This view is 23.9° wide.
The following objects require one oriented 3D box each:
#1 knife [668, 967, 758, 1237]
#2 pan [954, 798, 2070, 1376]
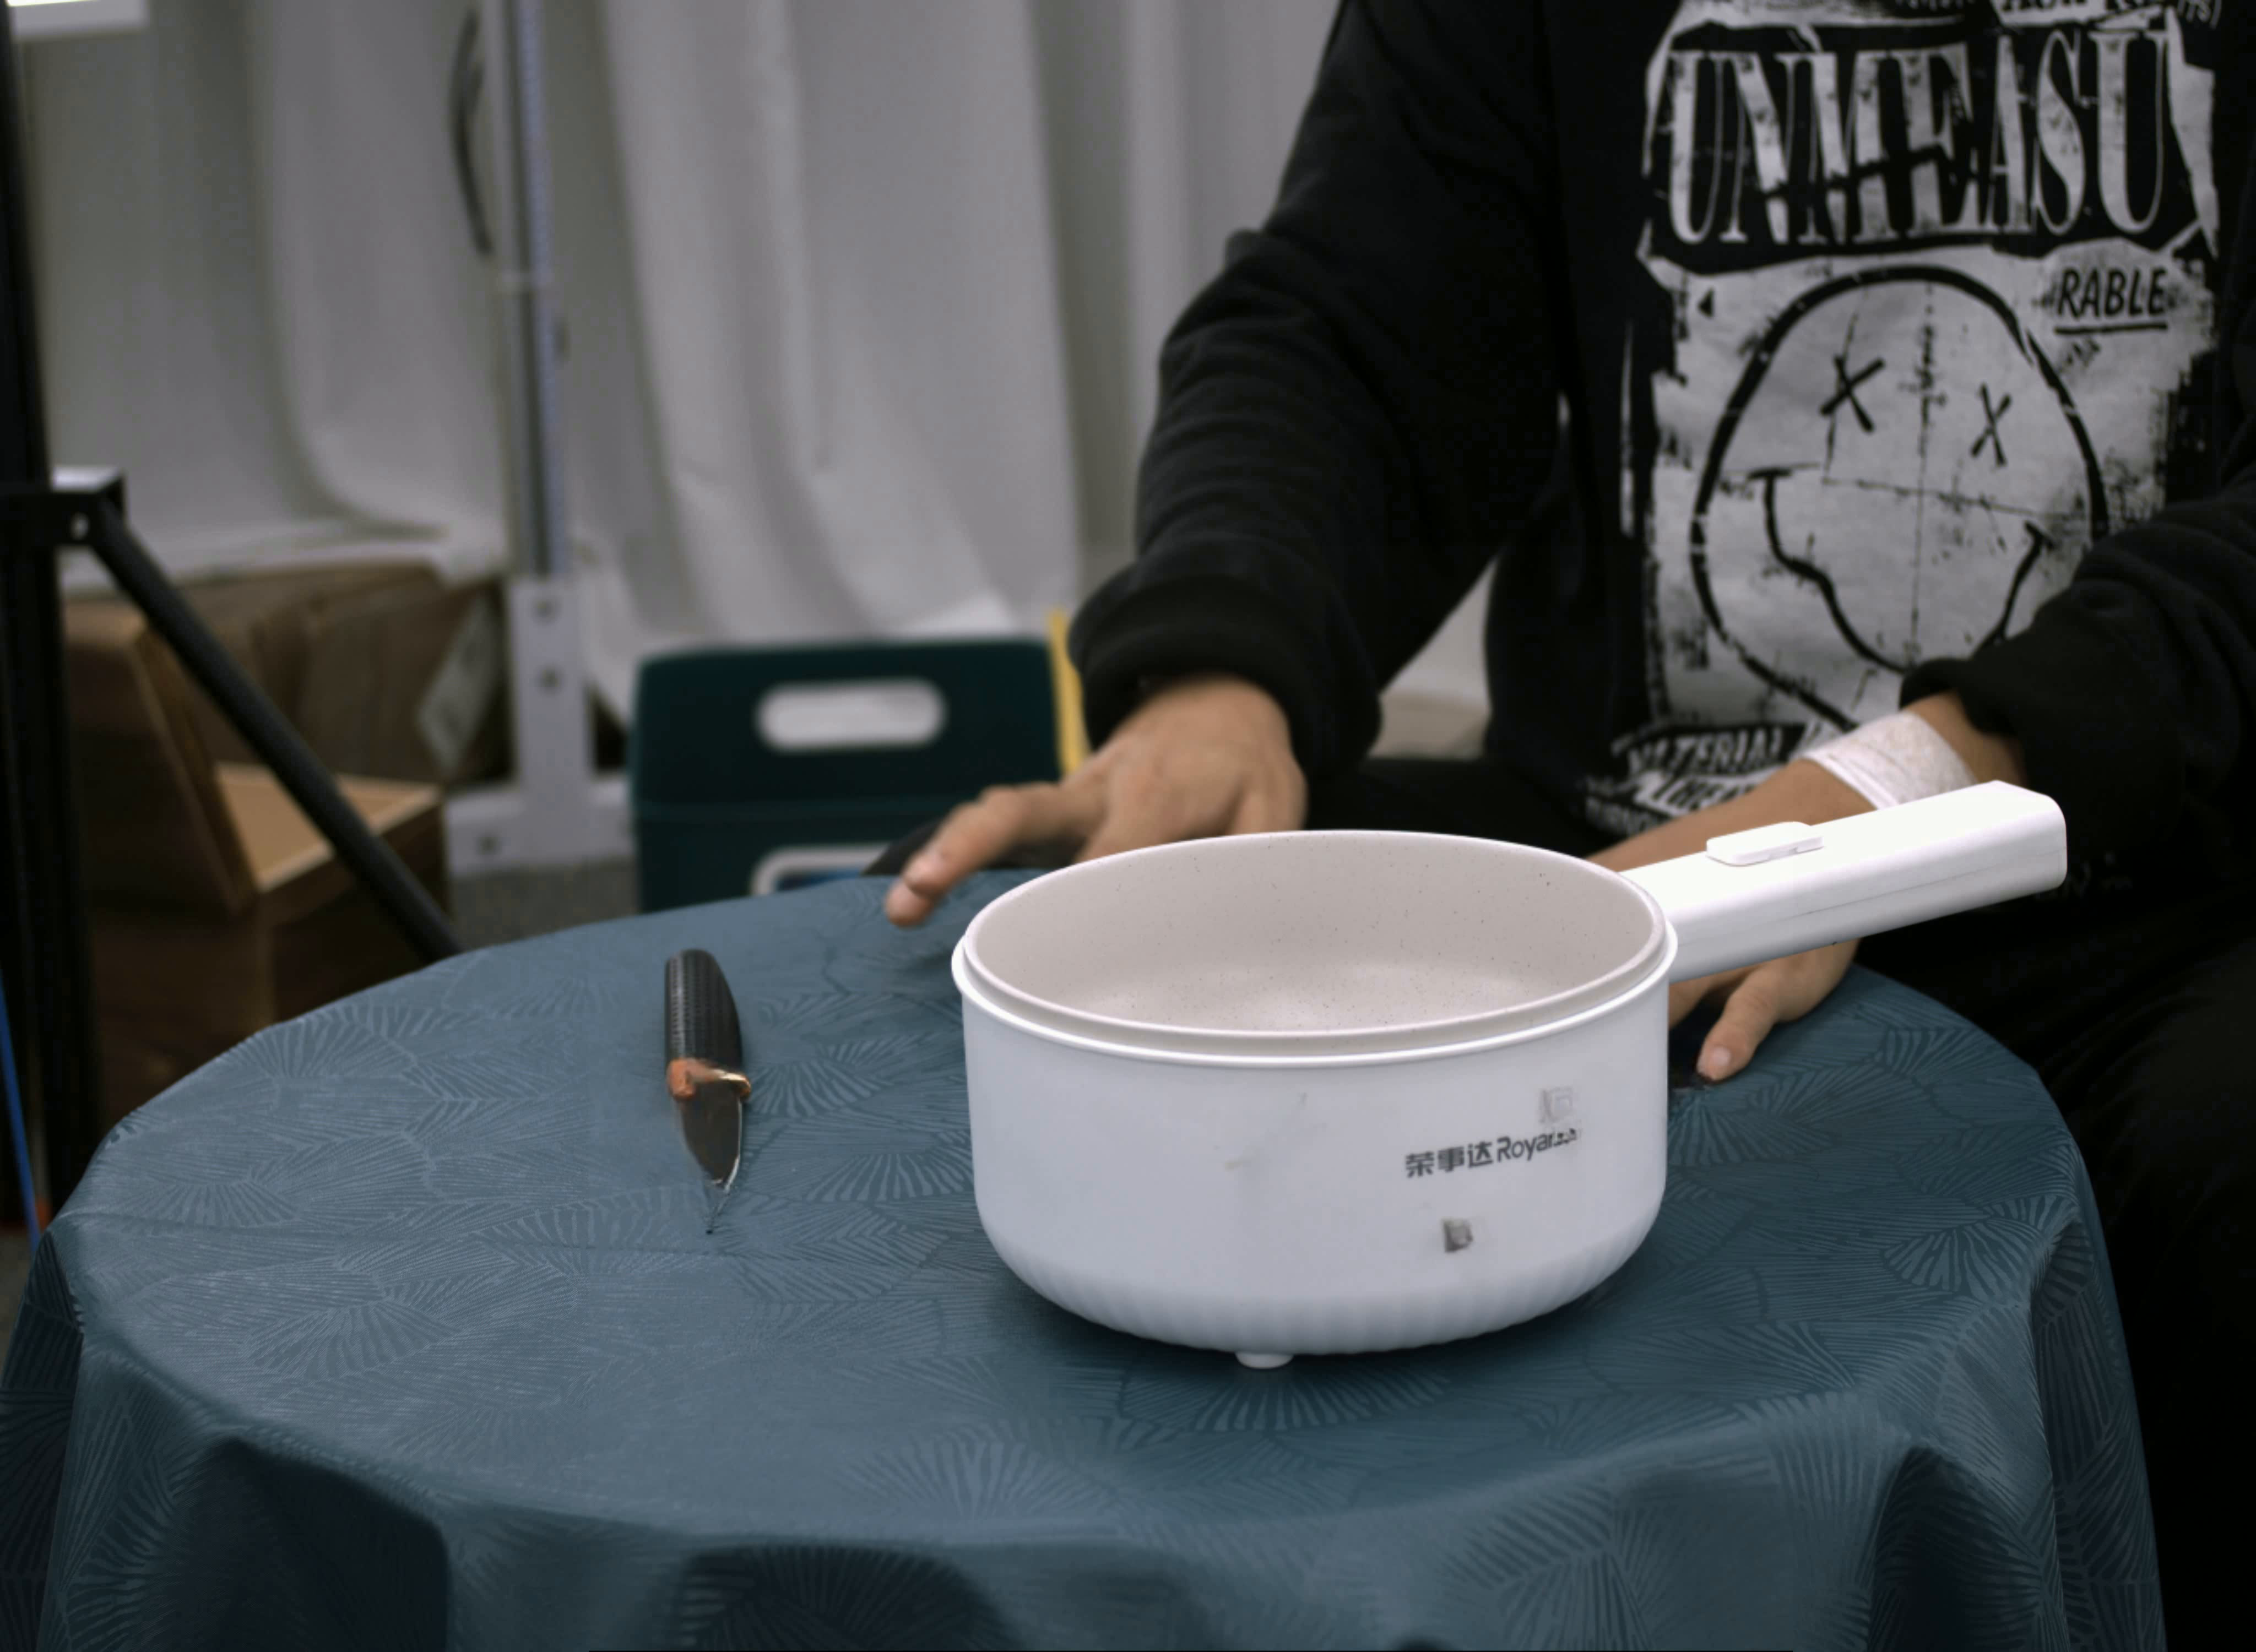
[{"bbox_3d":[-0.128,0.084,1.644,0.026,0.017,0.227,8,16,-8],"label":"knife"},{"bbox_3d":[0.119,0.067,1.509,0.347,0.102,0.205,-10,15,-28],"label":"pan"}]
